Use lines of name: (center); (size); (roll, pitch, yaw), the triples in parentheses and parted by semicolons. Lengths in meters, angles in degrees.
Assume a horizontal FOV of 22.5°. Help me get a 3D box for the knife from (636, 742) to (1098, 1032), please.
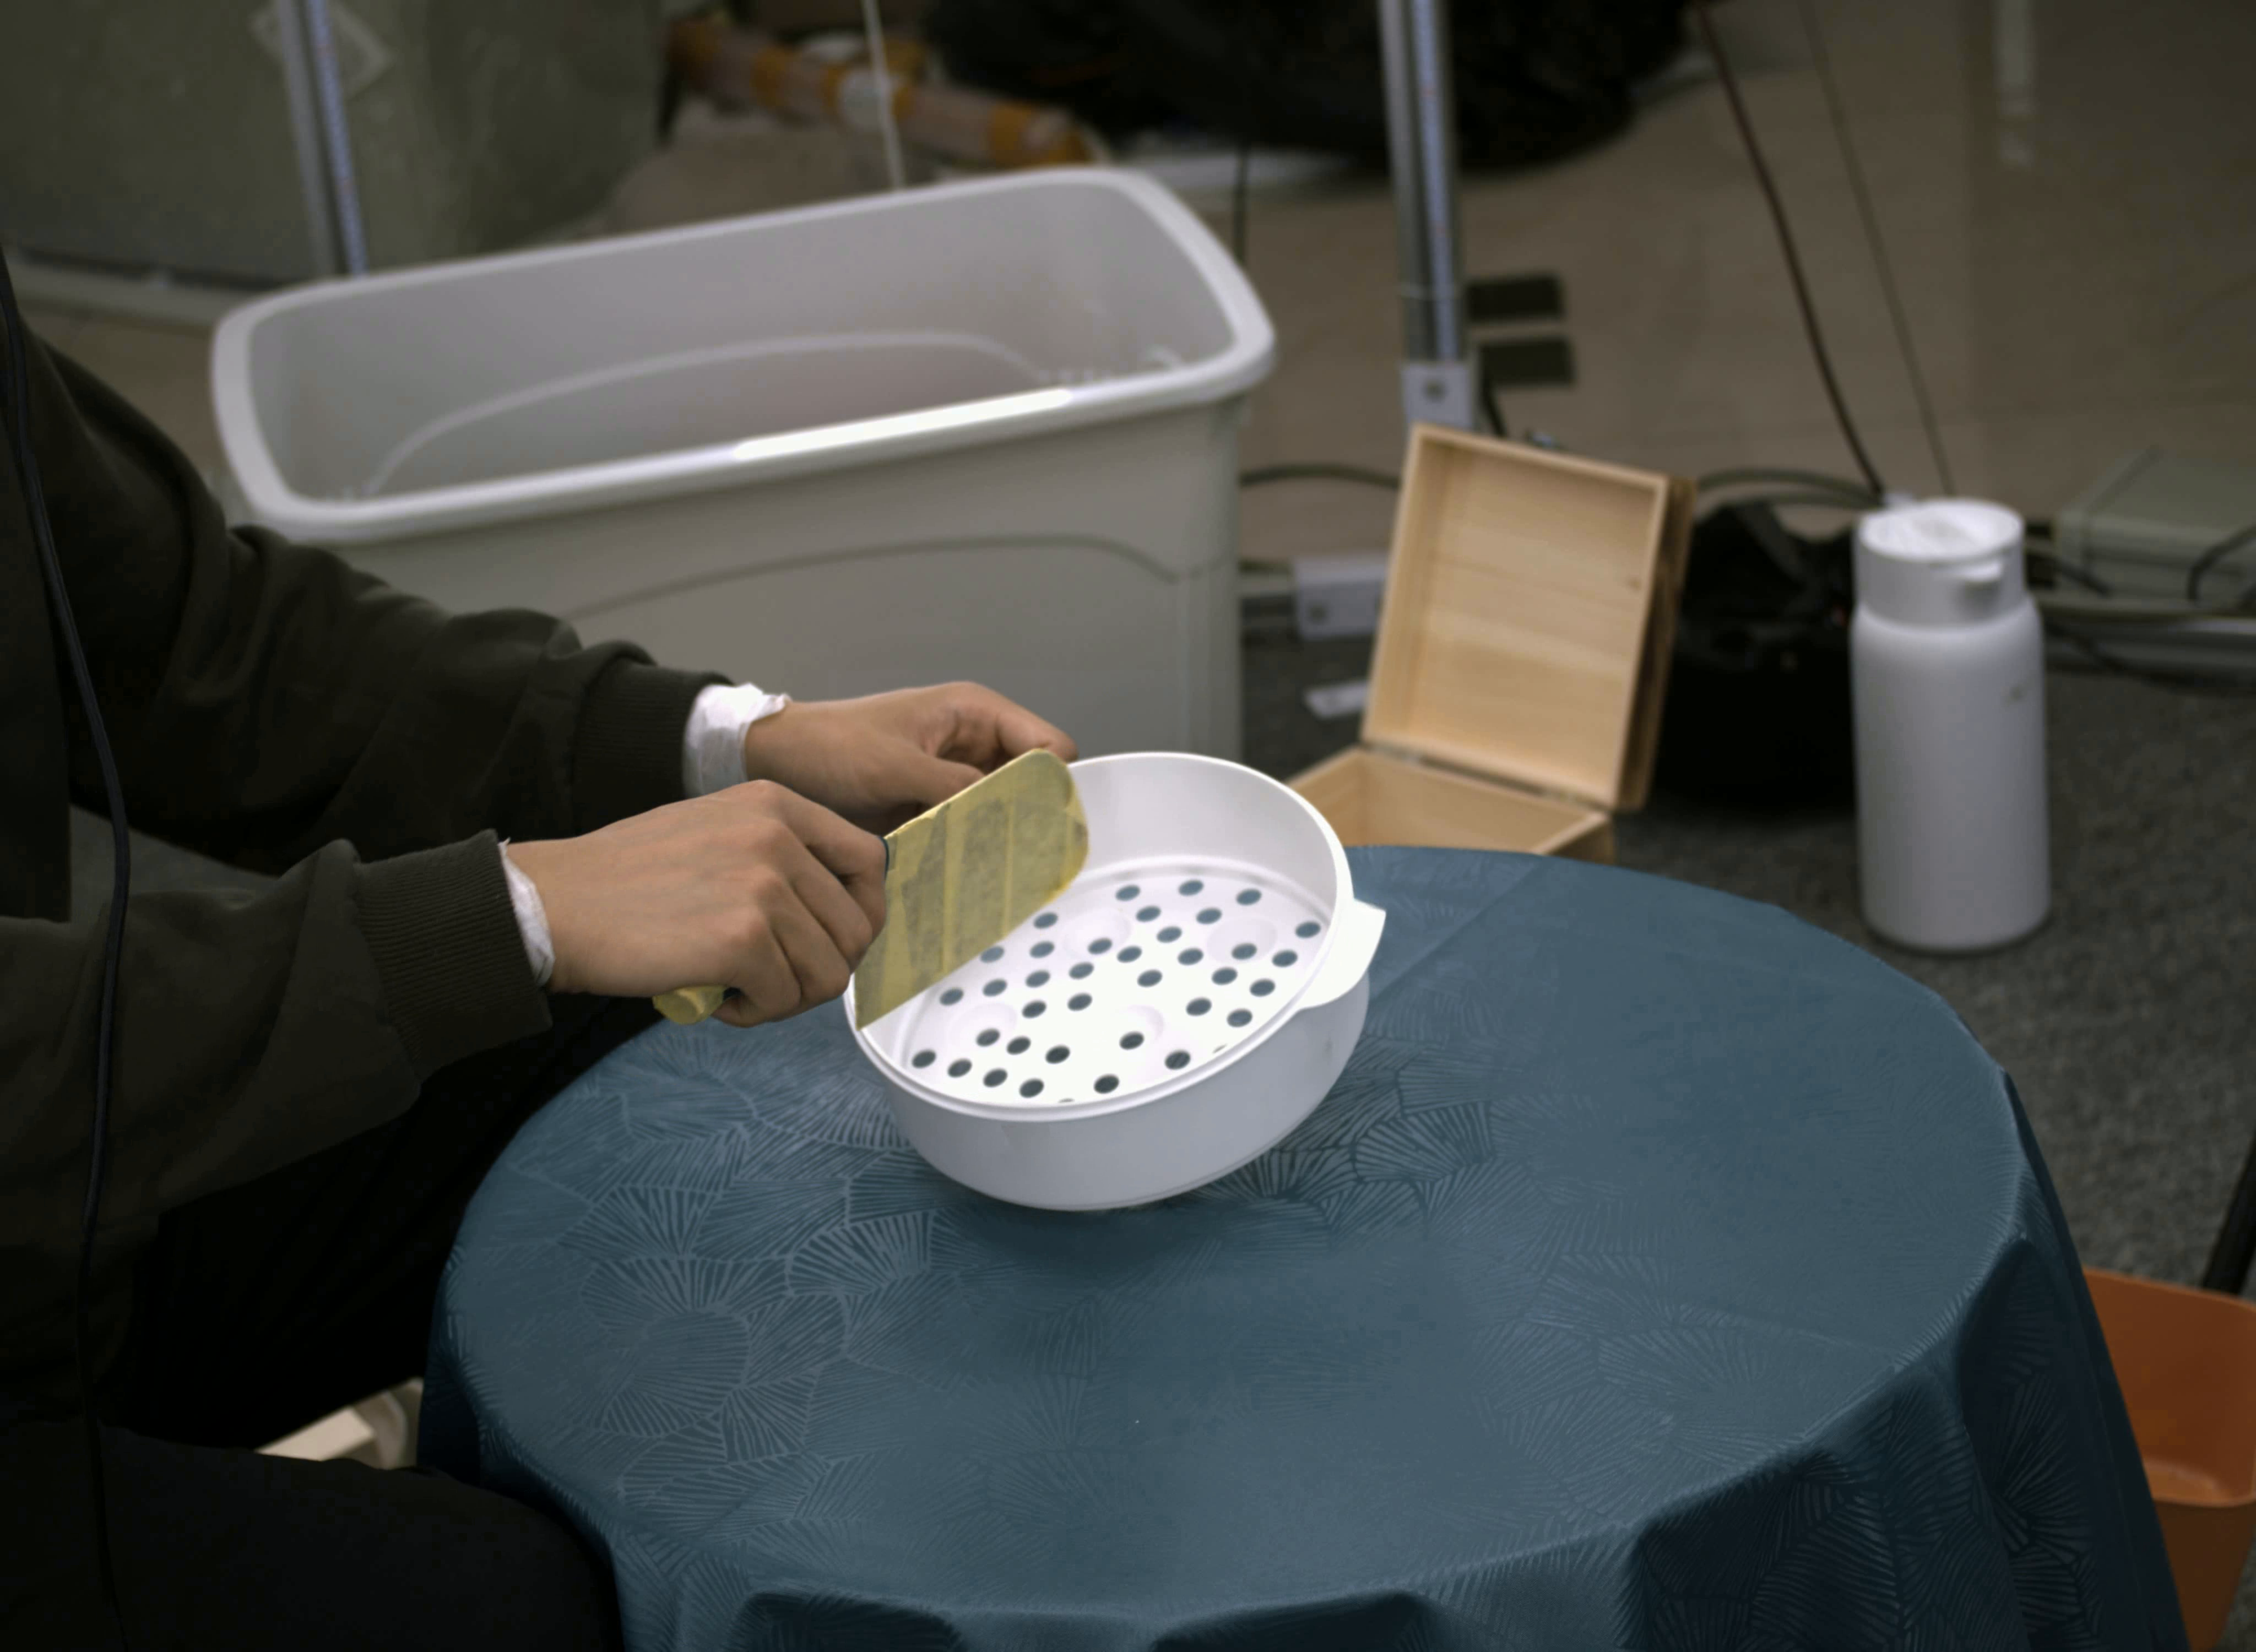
knife: (-0.087, 0.032, 2.057); (0.027, 0.082, 0.287); (13, 22, 29)

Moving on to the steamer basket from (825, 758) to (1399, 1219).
steamer basket: (-0.001, 0.063, 2.183); (0.230, 0.070, 0.198); (1, 43, 23)
